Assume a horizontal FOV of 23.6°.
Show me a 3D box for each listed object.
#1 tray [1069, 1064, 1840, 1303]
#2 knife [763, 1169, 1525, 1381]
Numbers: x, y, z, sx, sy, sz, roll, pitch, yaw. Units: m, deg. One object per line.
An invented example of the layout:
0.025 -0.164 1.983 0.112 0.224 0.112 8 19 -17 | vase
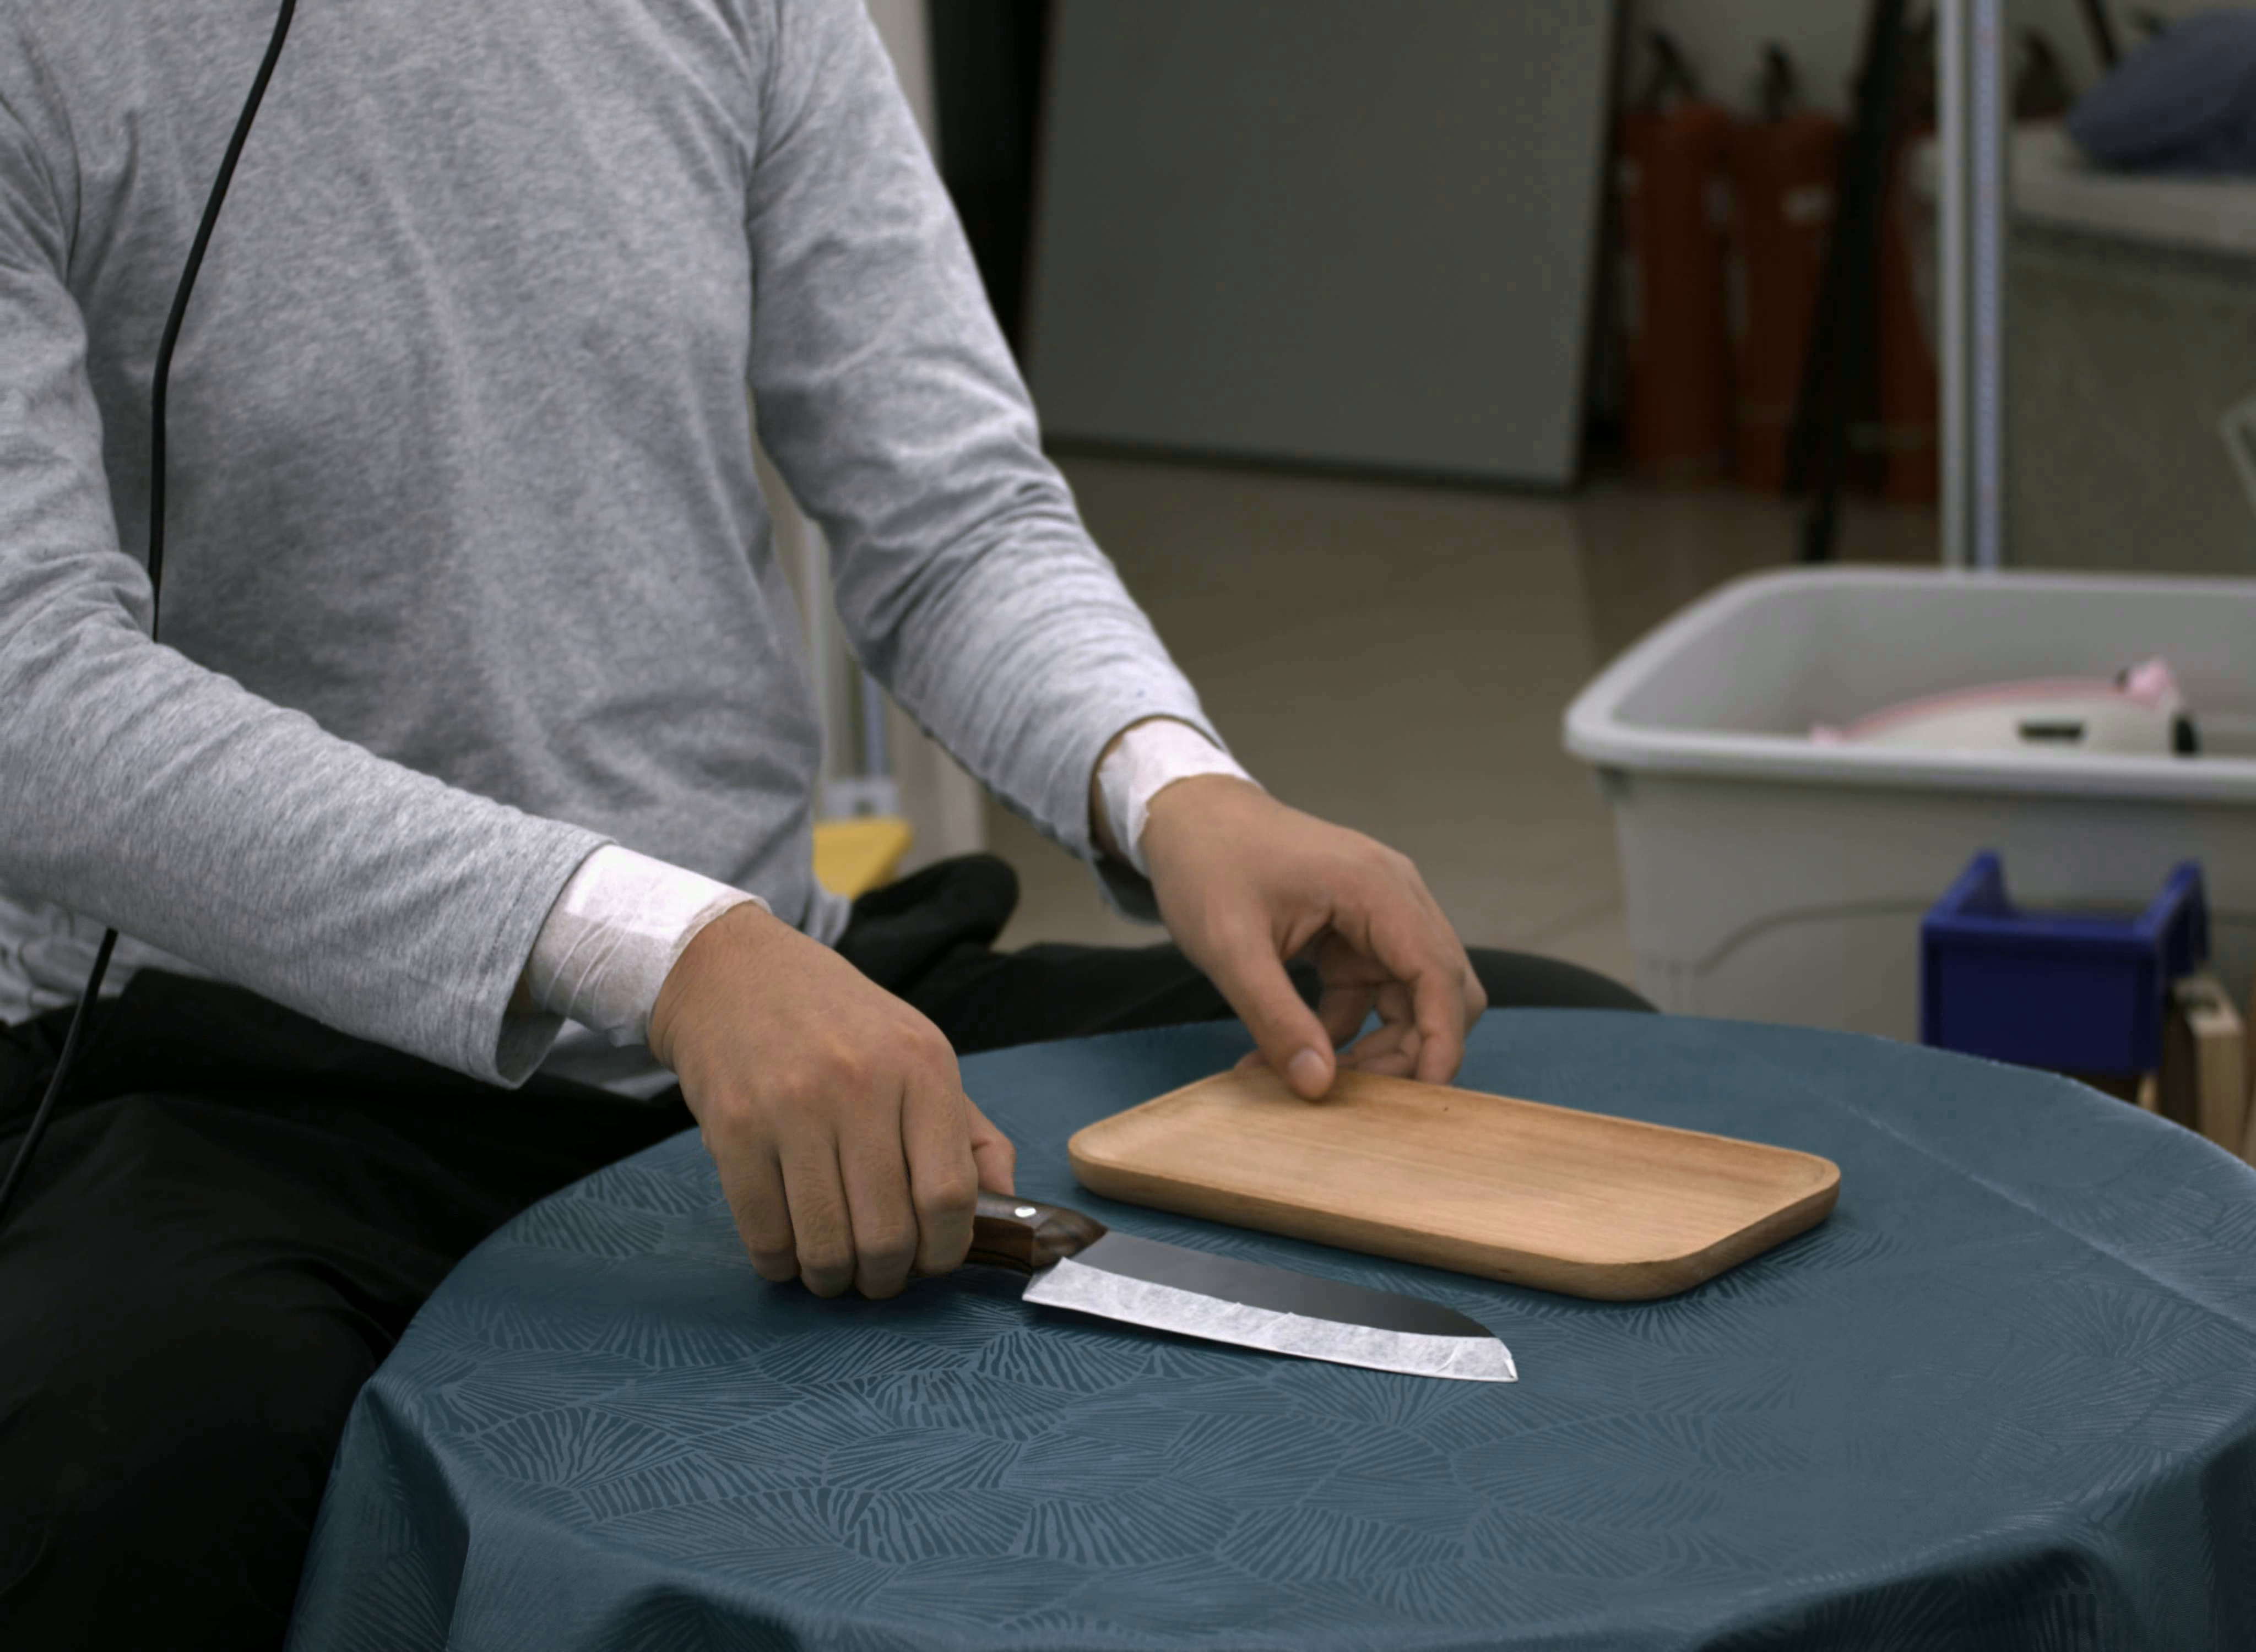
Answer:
0.103 0.114 1.742 0.253 0.023 0.128 7 15 43 | tray
0.000 0.140 1.658 0.291 0.020 0.049 10 32 35 | knife
